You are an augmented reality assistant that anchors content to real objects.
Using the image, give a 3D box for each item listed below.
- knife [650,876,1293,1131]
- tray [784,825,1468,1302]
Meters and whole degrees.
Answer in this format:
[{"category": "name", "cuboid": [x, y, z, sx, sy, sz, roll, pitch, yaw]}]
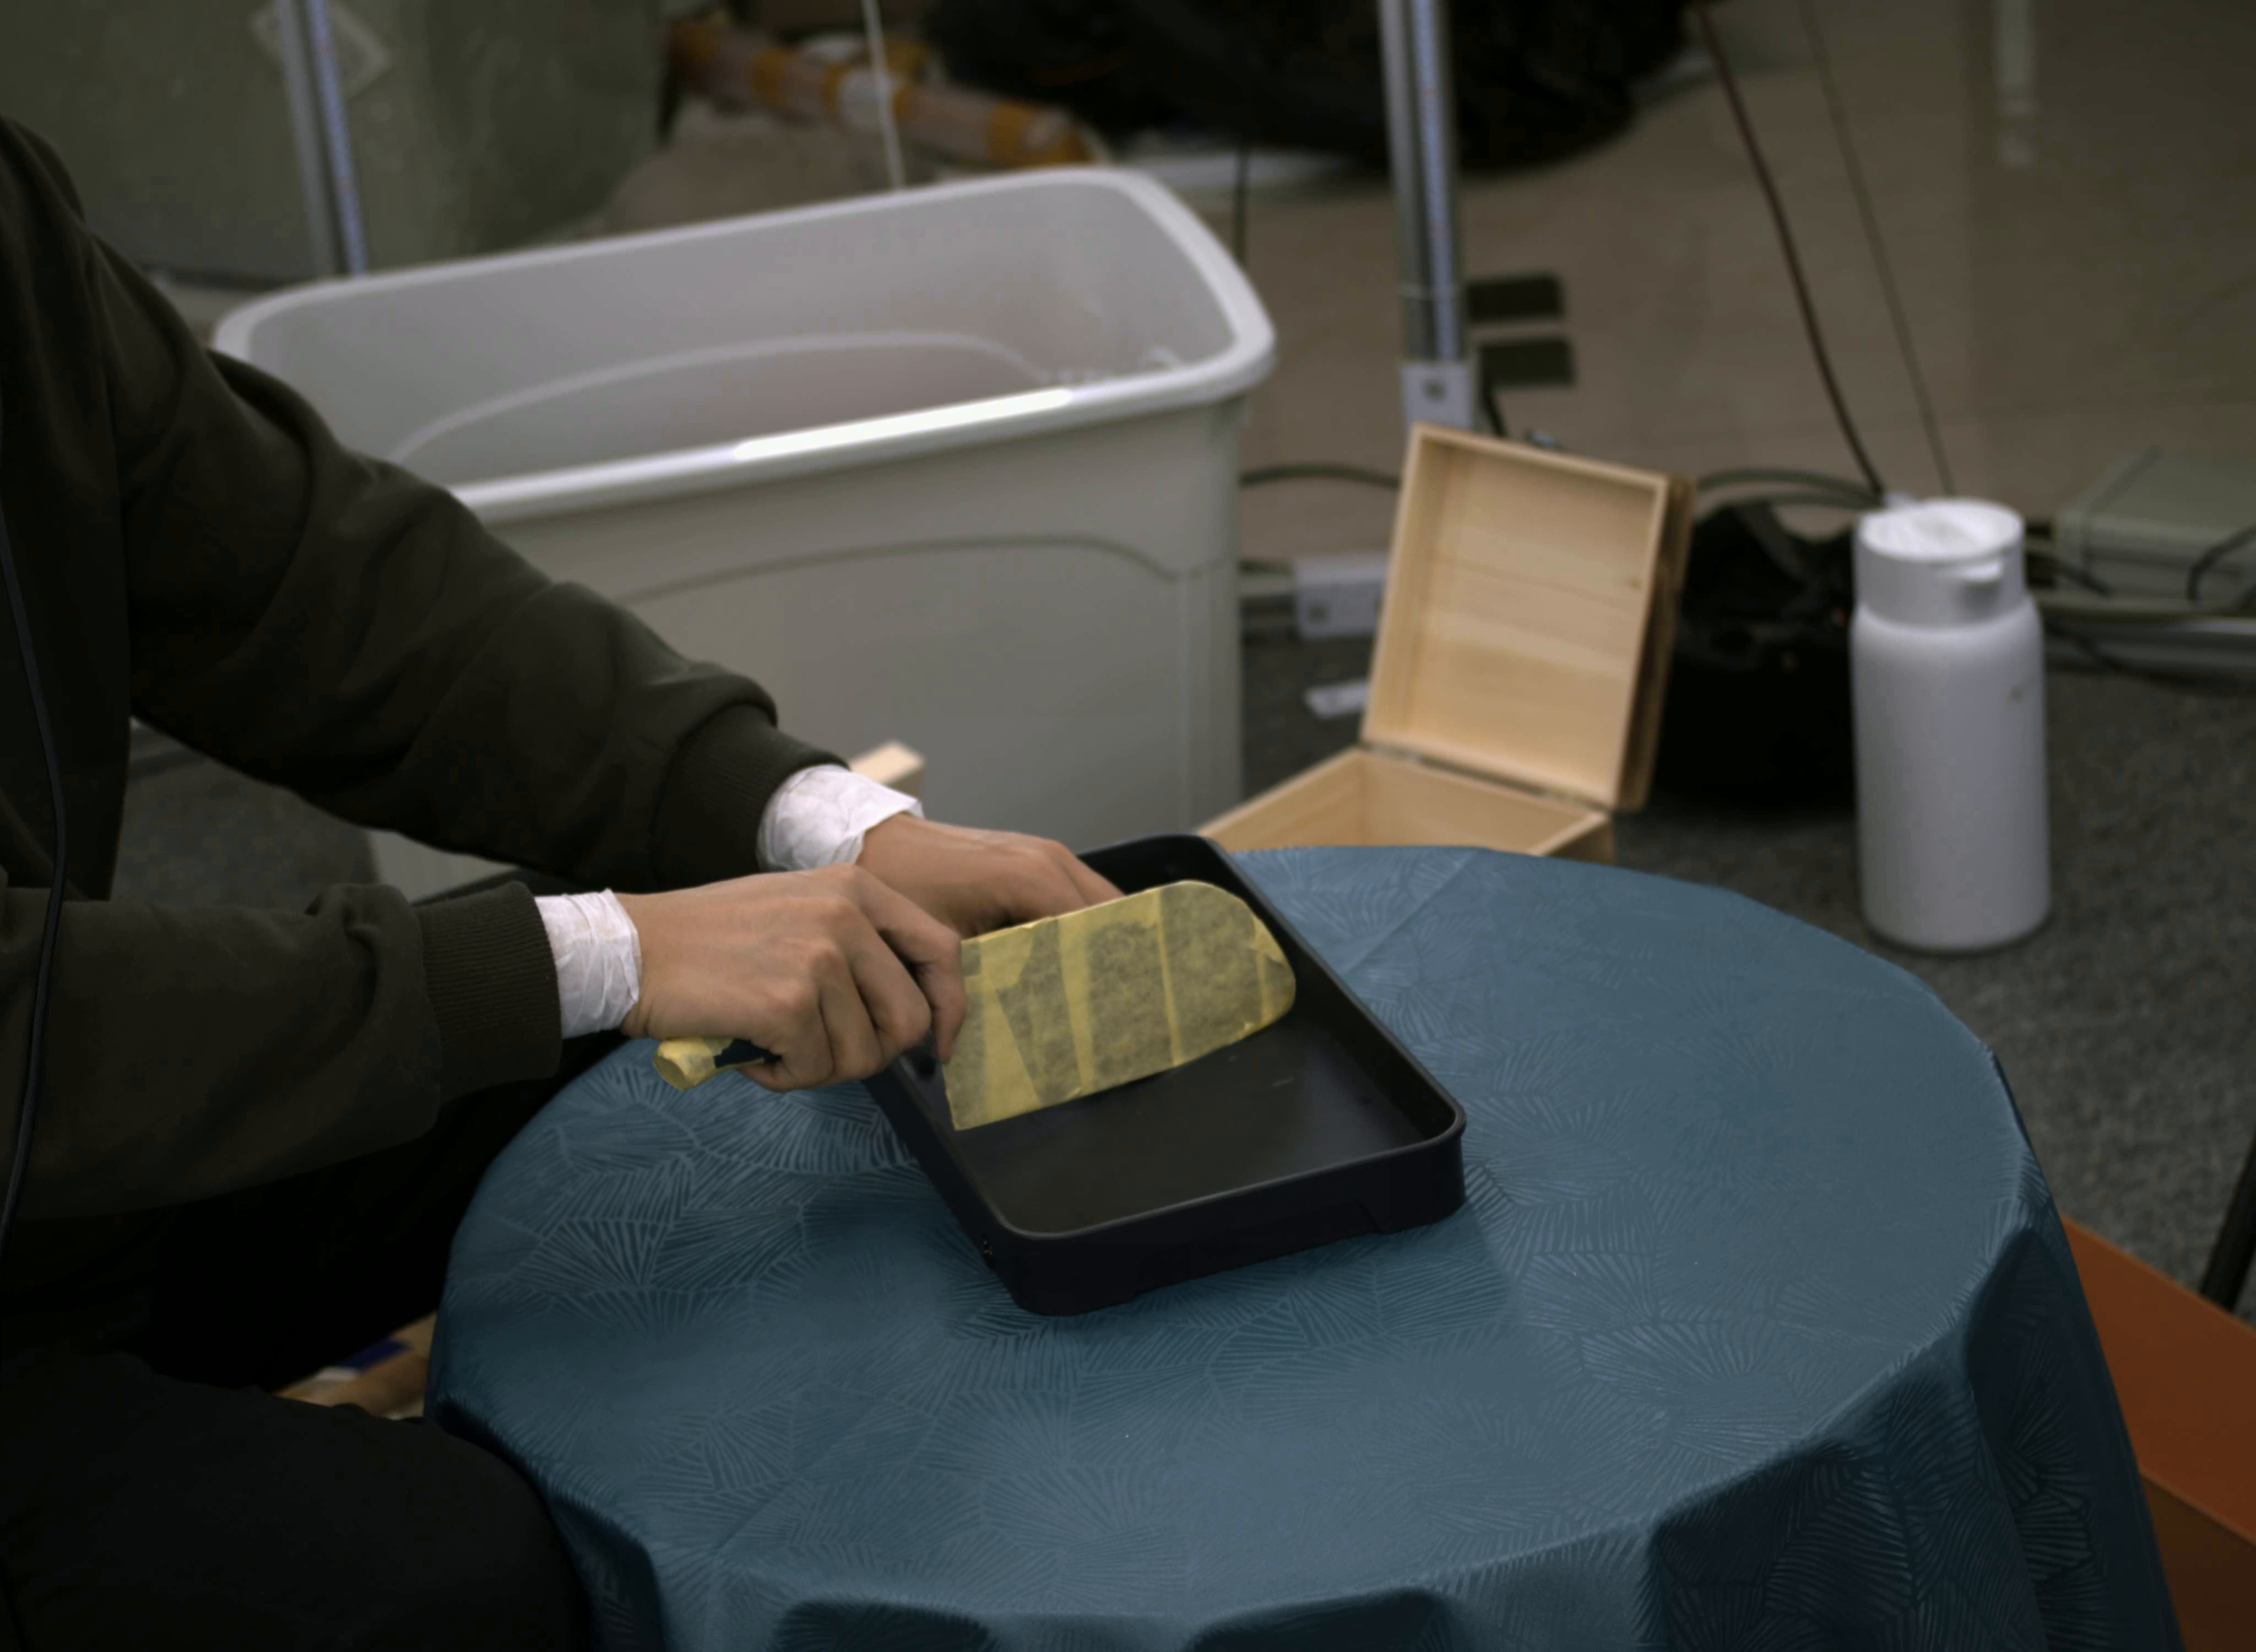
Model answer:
[{"category": "knife", "cuboid": [-0.054, 0.075, 2.180, 0.288, 0.081, 0.027, -11, 10, -32]}, {"category": "tray", "cuboid": [-0.006, 0.088, 2.218, 0.183, 0.037, 0.314, -14, 26, -16]}]
